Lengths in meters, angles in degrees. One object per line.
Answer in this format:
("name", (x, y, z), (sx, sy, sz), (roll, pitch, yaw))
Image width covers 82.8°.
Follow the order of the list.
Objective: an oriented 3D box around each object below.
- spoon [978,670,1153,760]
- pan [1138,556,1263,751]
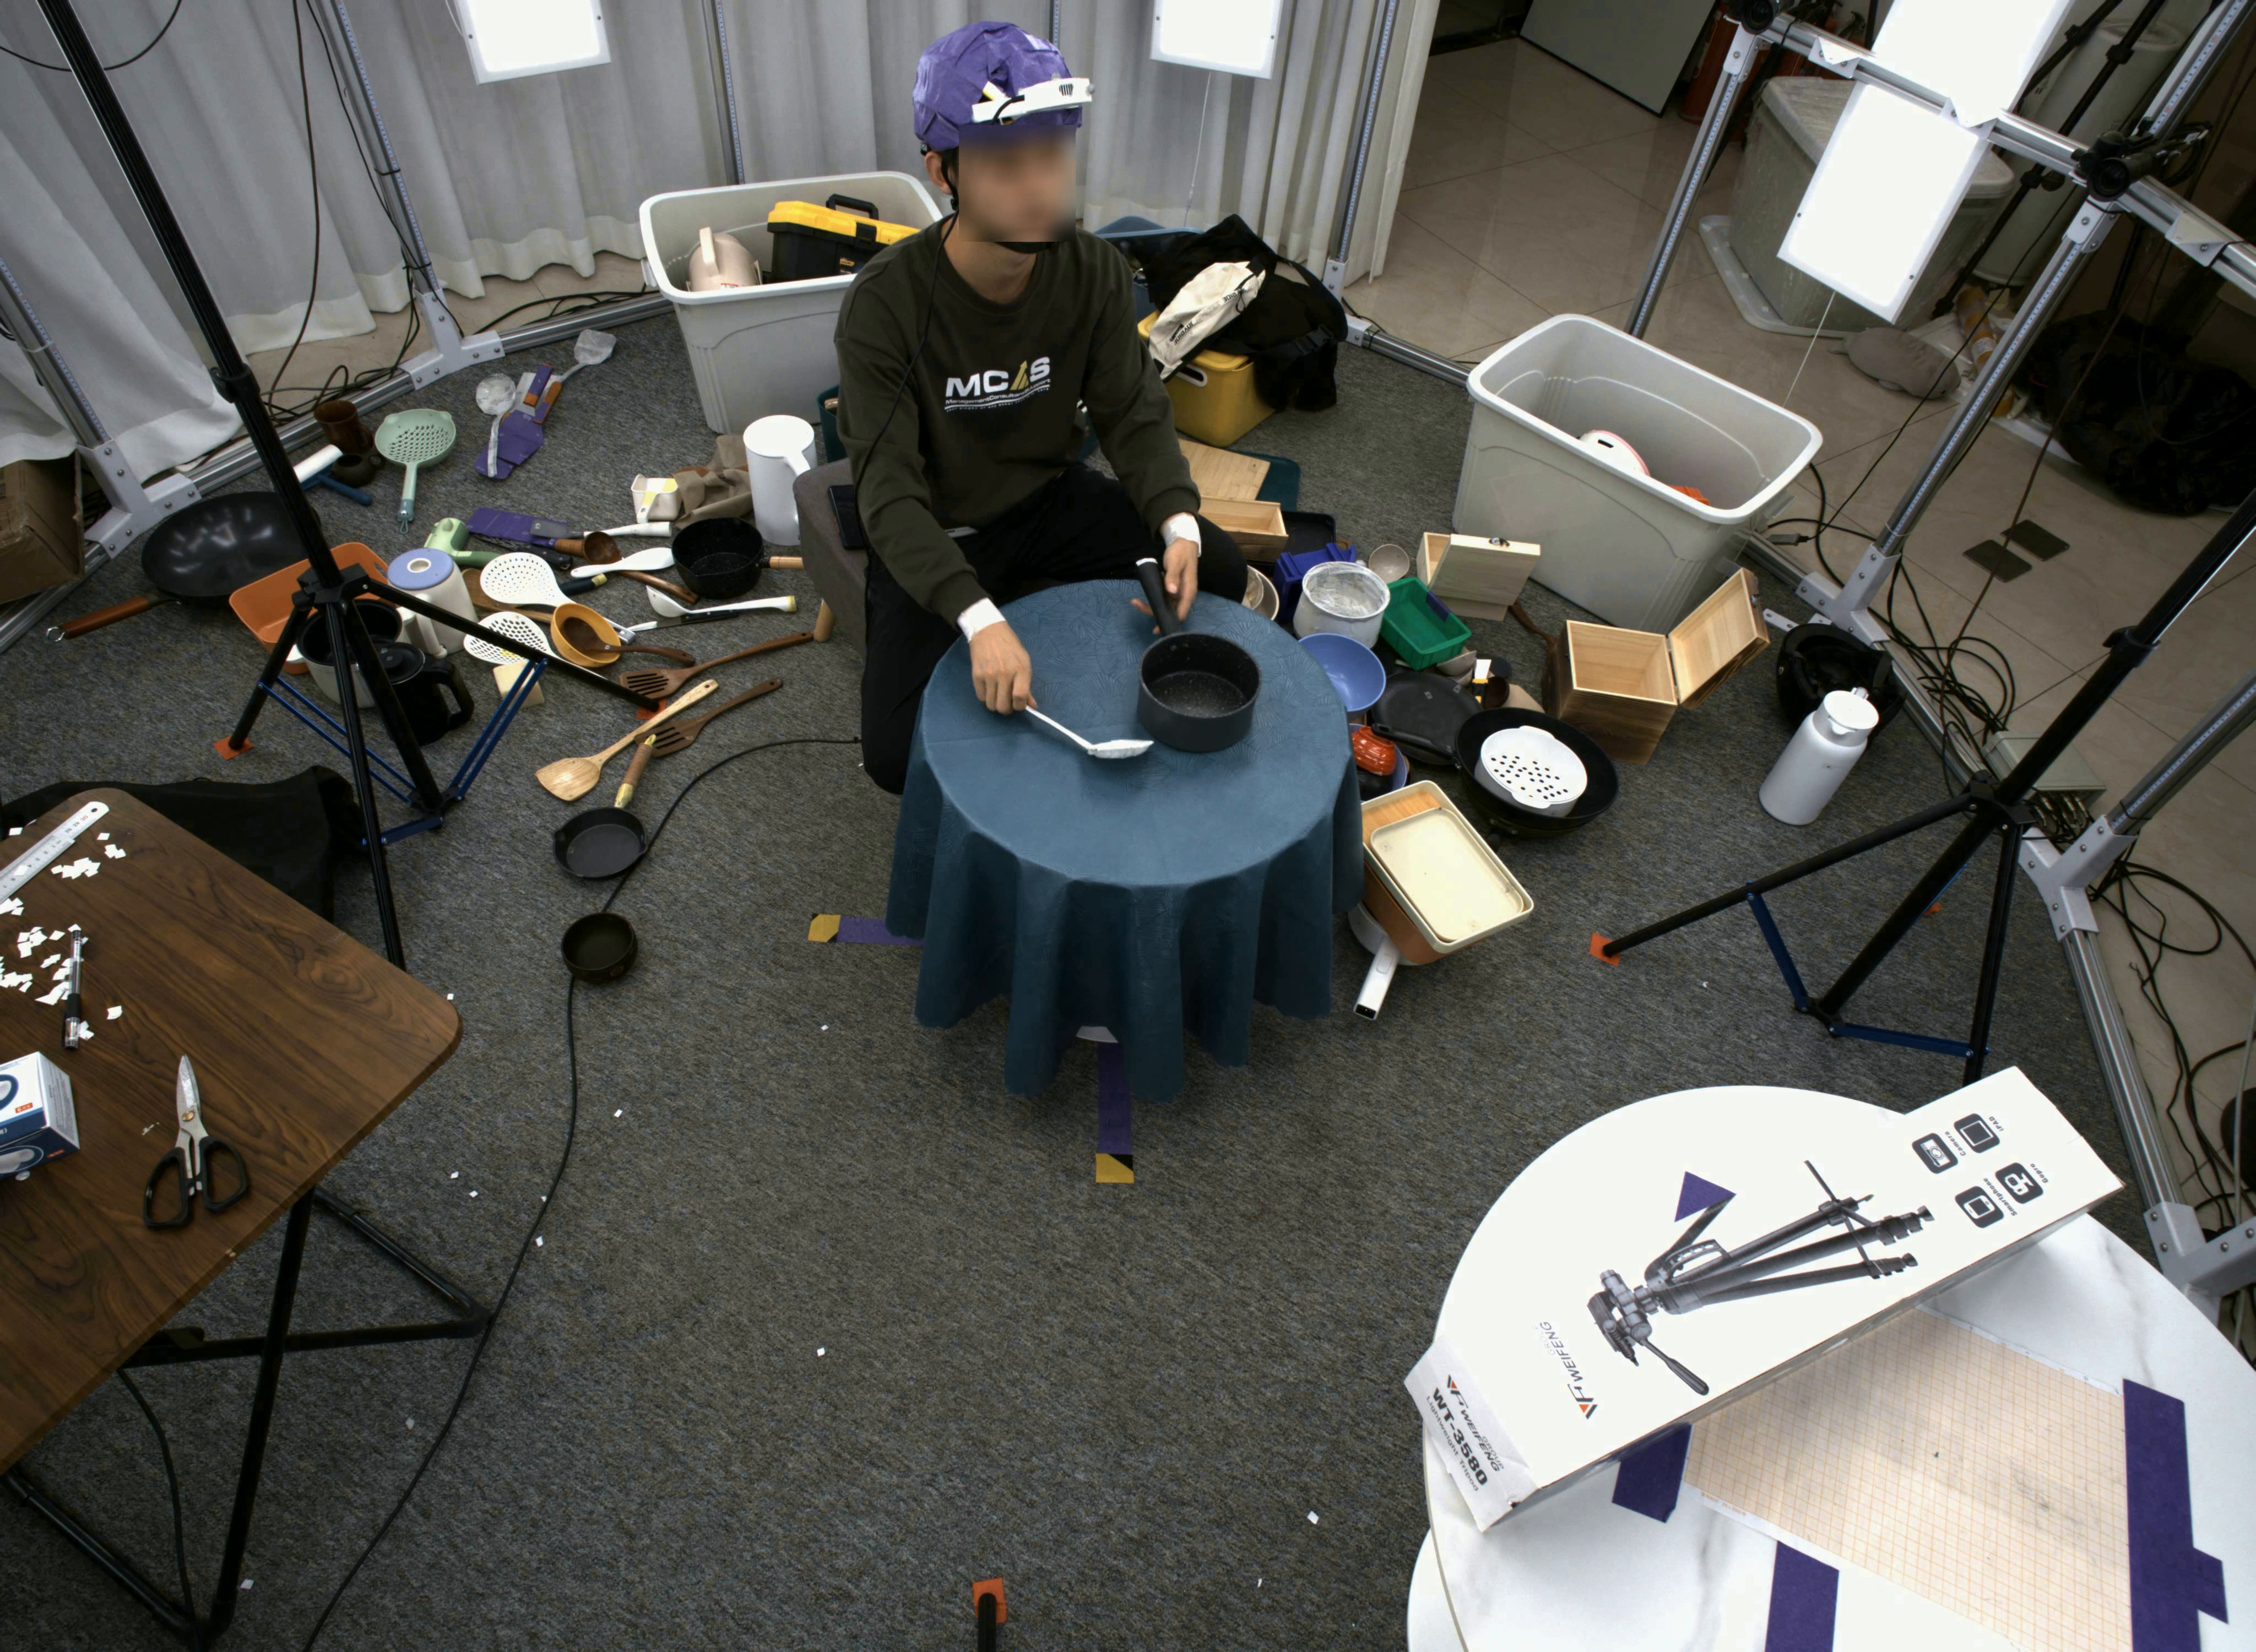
("spoon", (-0.088, -0.163, 1.756), (0.280, 0.058, 0.101), (35, 23, 19))
("pan", (0.077, -0.248, 1.834), (0.172, 0.084, 0.337), (-8, 51, -12))
